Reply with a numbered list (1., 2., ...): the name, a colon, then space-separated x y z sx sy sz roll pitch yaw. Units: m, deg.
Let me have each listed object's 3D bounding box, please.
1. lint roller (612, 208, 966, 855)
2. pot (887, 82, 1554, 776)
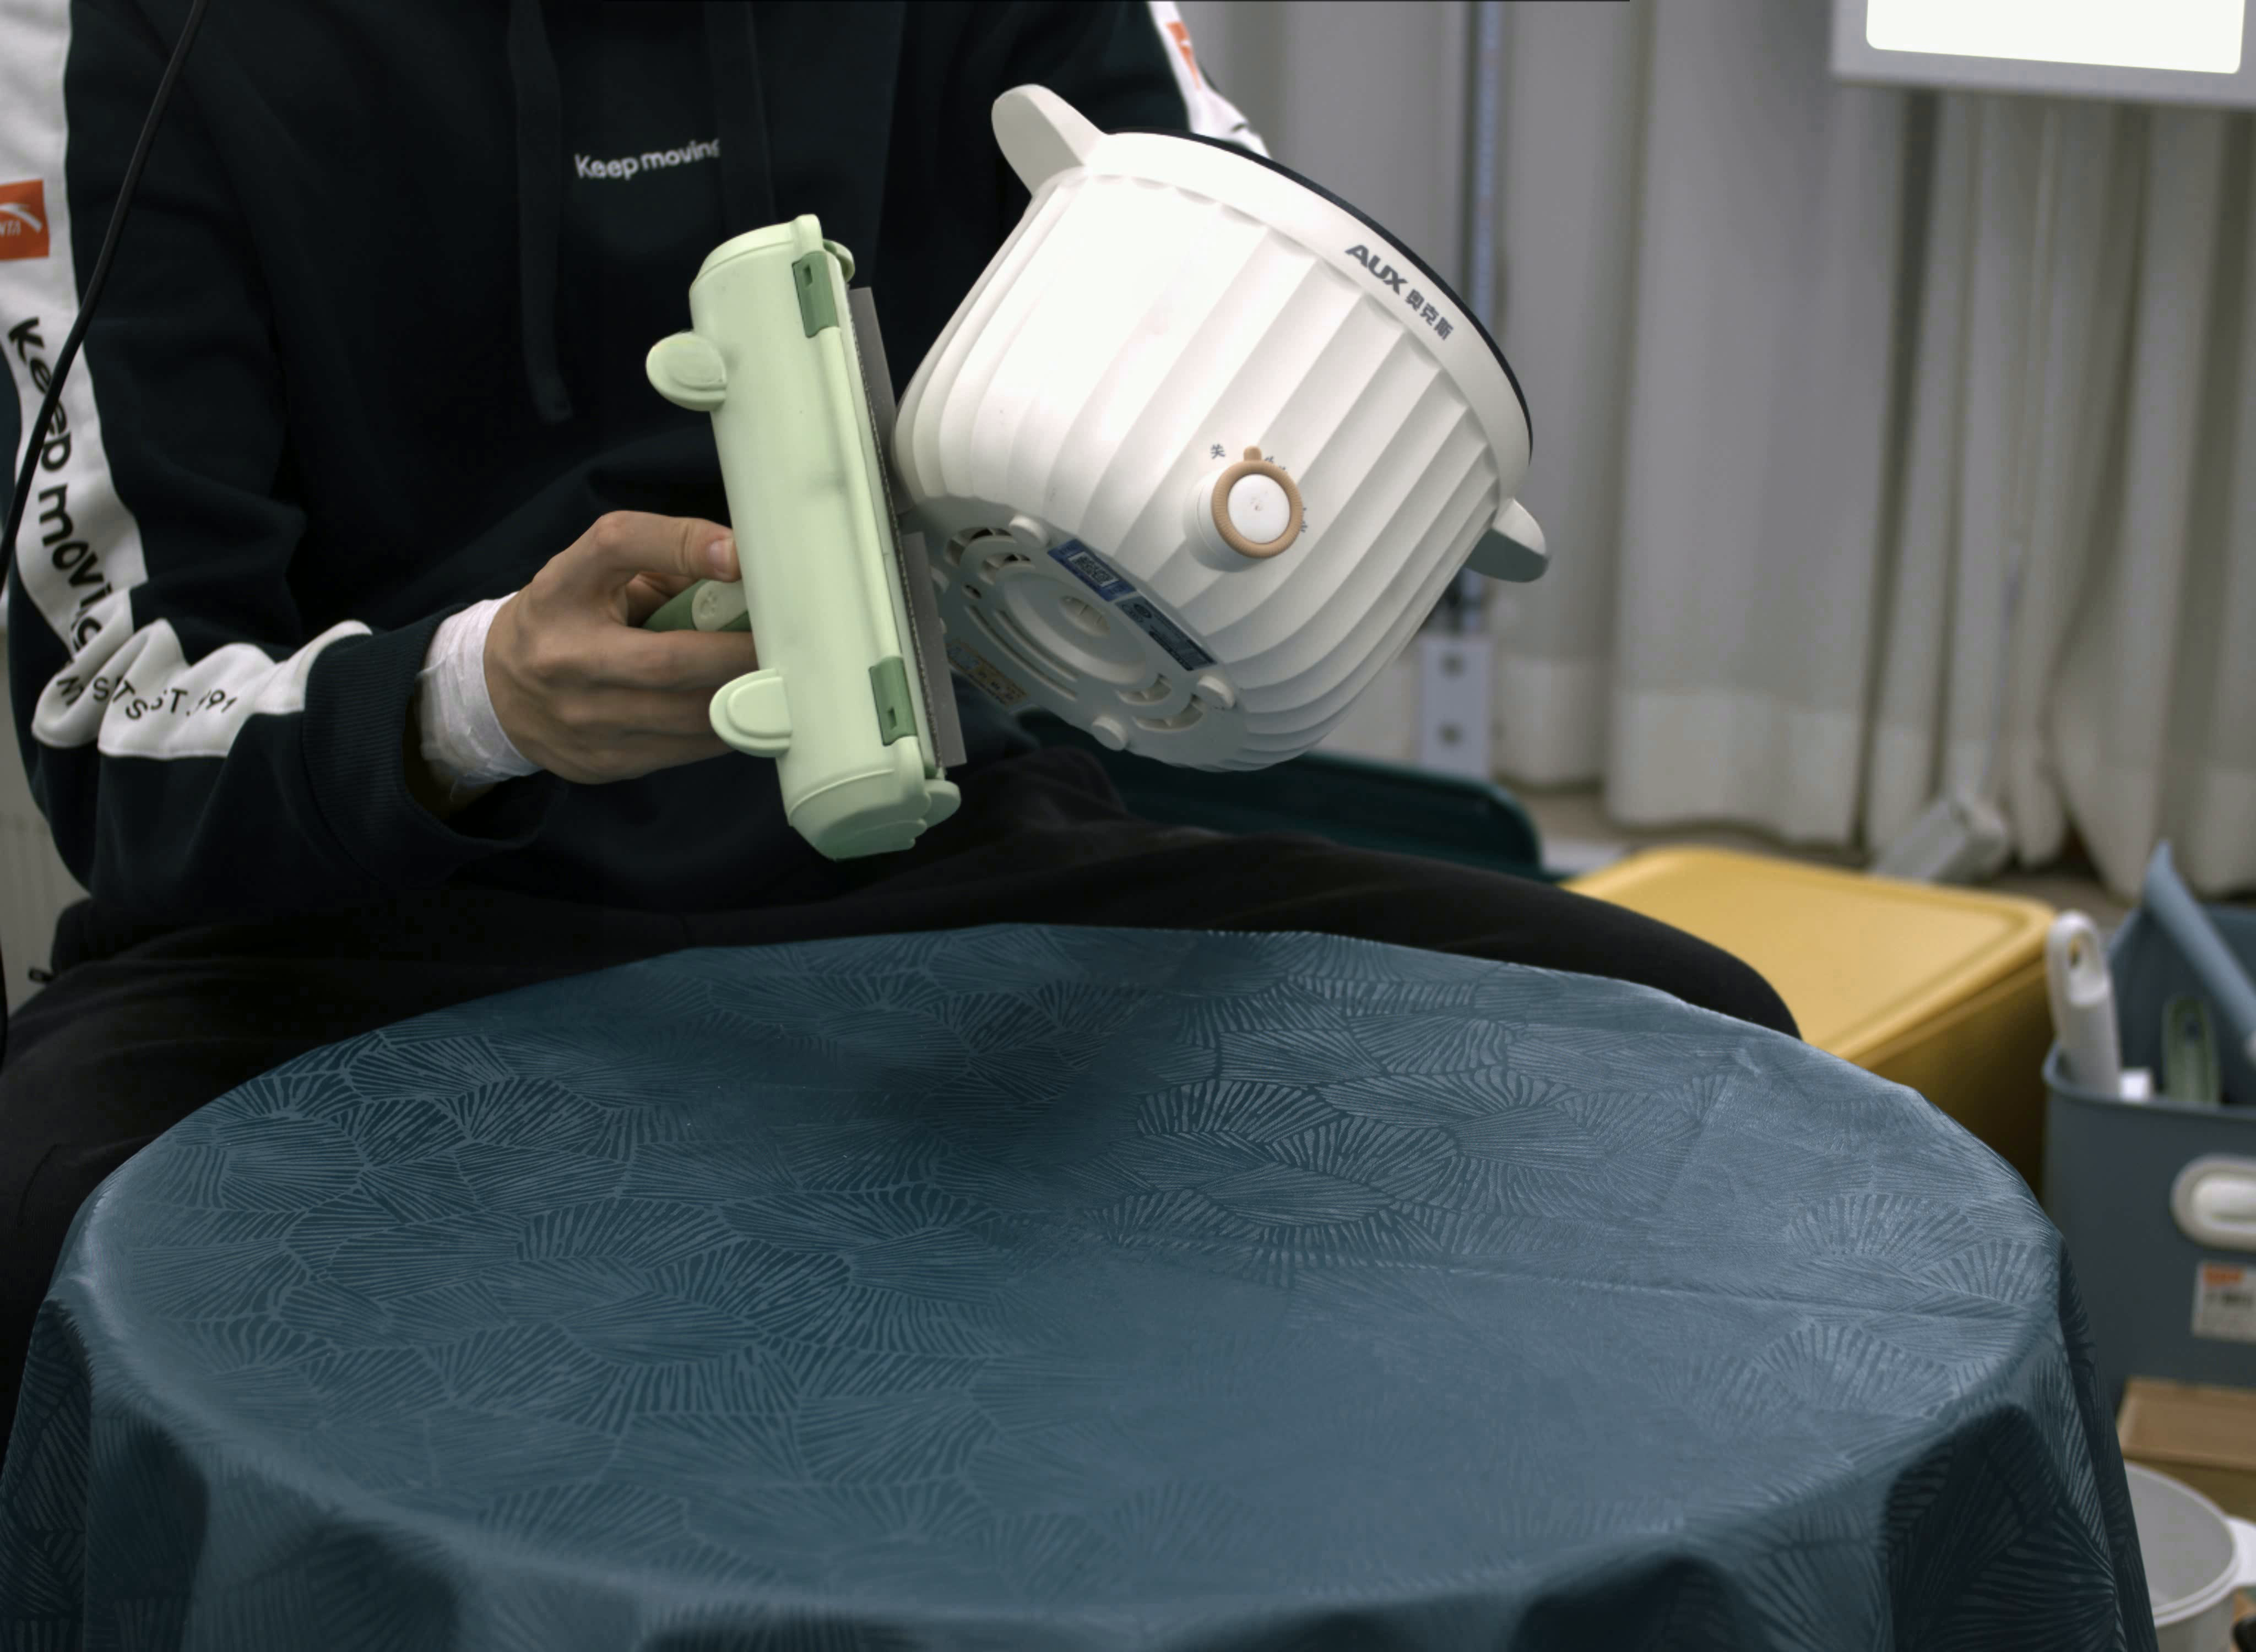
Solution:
1. lint roller: -0.133 -0.071 1.659 0.083 0.198 0.182 2 -22 -41
2. pot: 0.020 -0.110 1.662 0.142 0.242 0.189 -58 18 -25
